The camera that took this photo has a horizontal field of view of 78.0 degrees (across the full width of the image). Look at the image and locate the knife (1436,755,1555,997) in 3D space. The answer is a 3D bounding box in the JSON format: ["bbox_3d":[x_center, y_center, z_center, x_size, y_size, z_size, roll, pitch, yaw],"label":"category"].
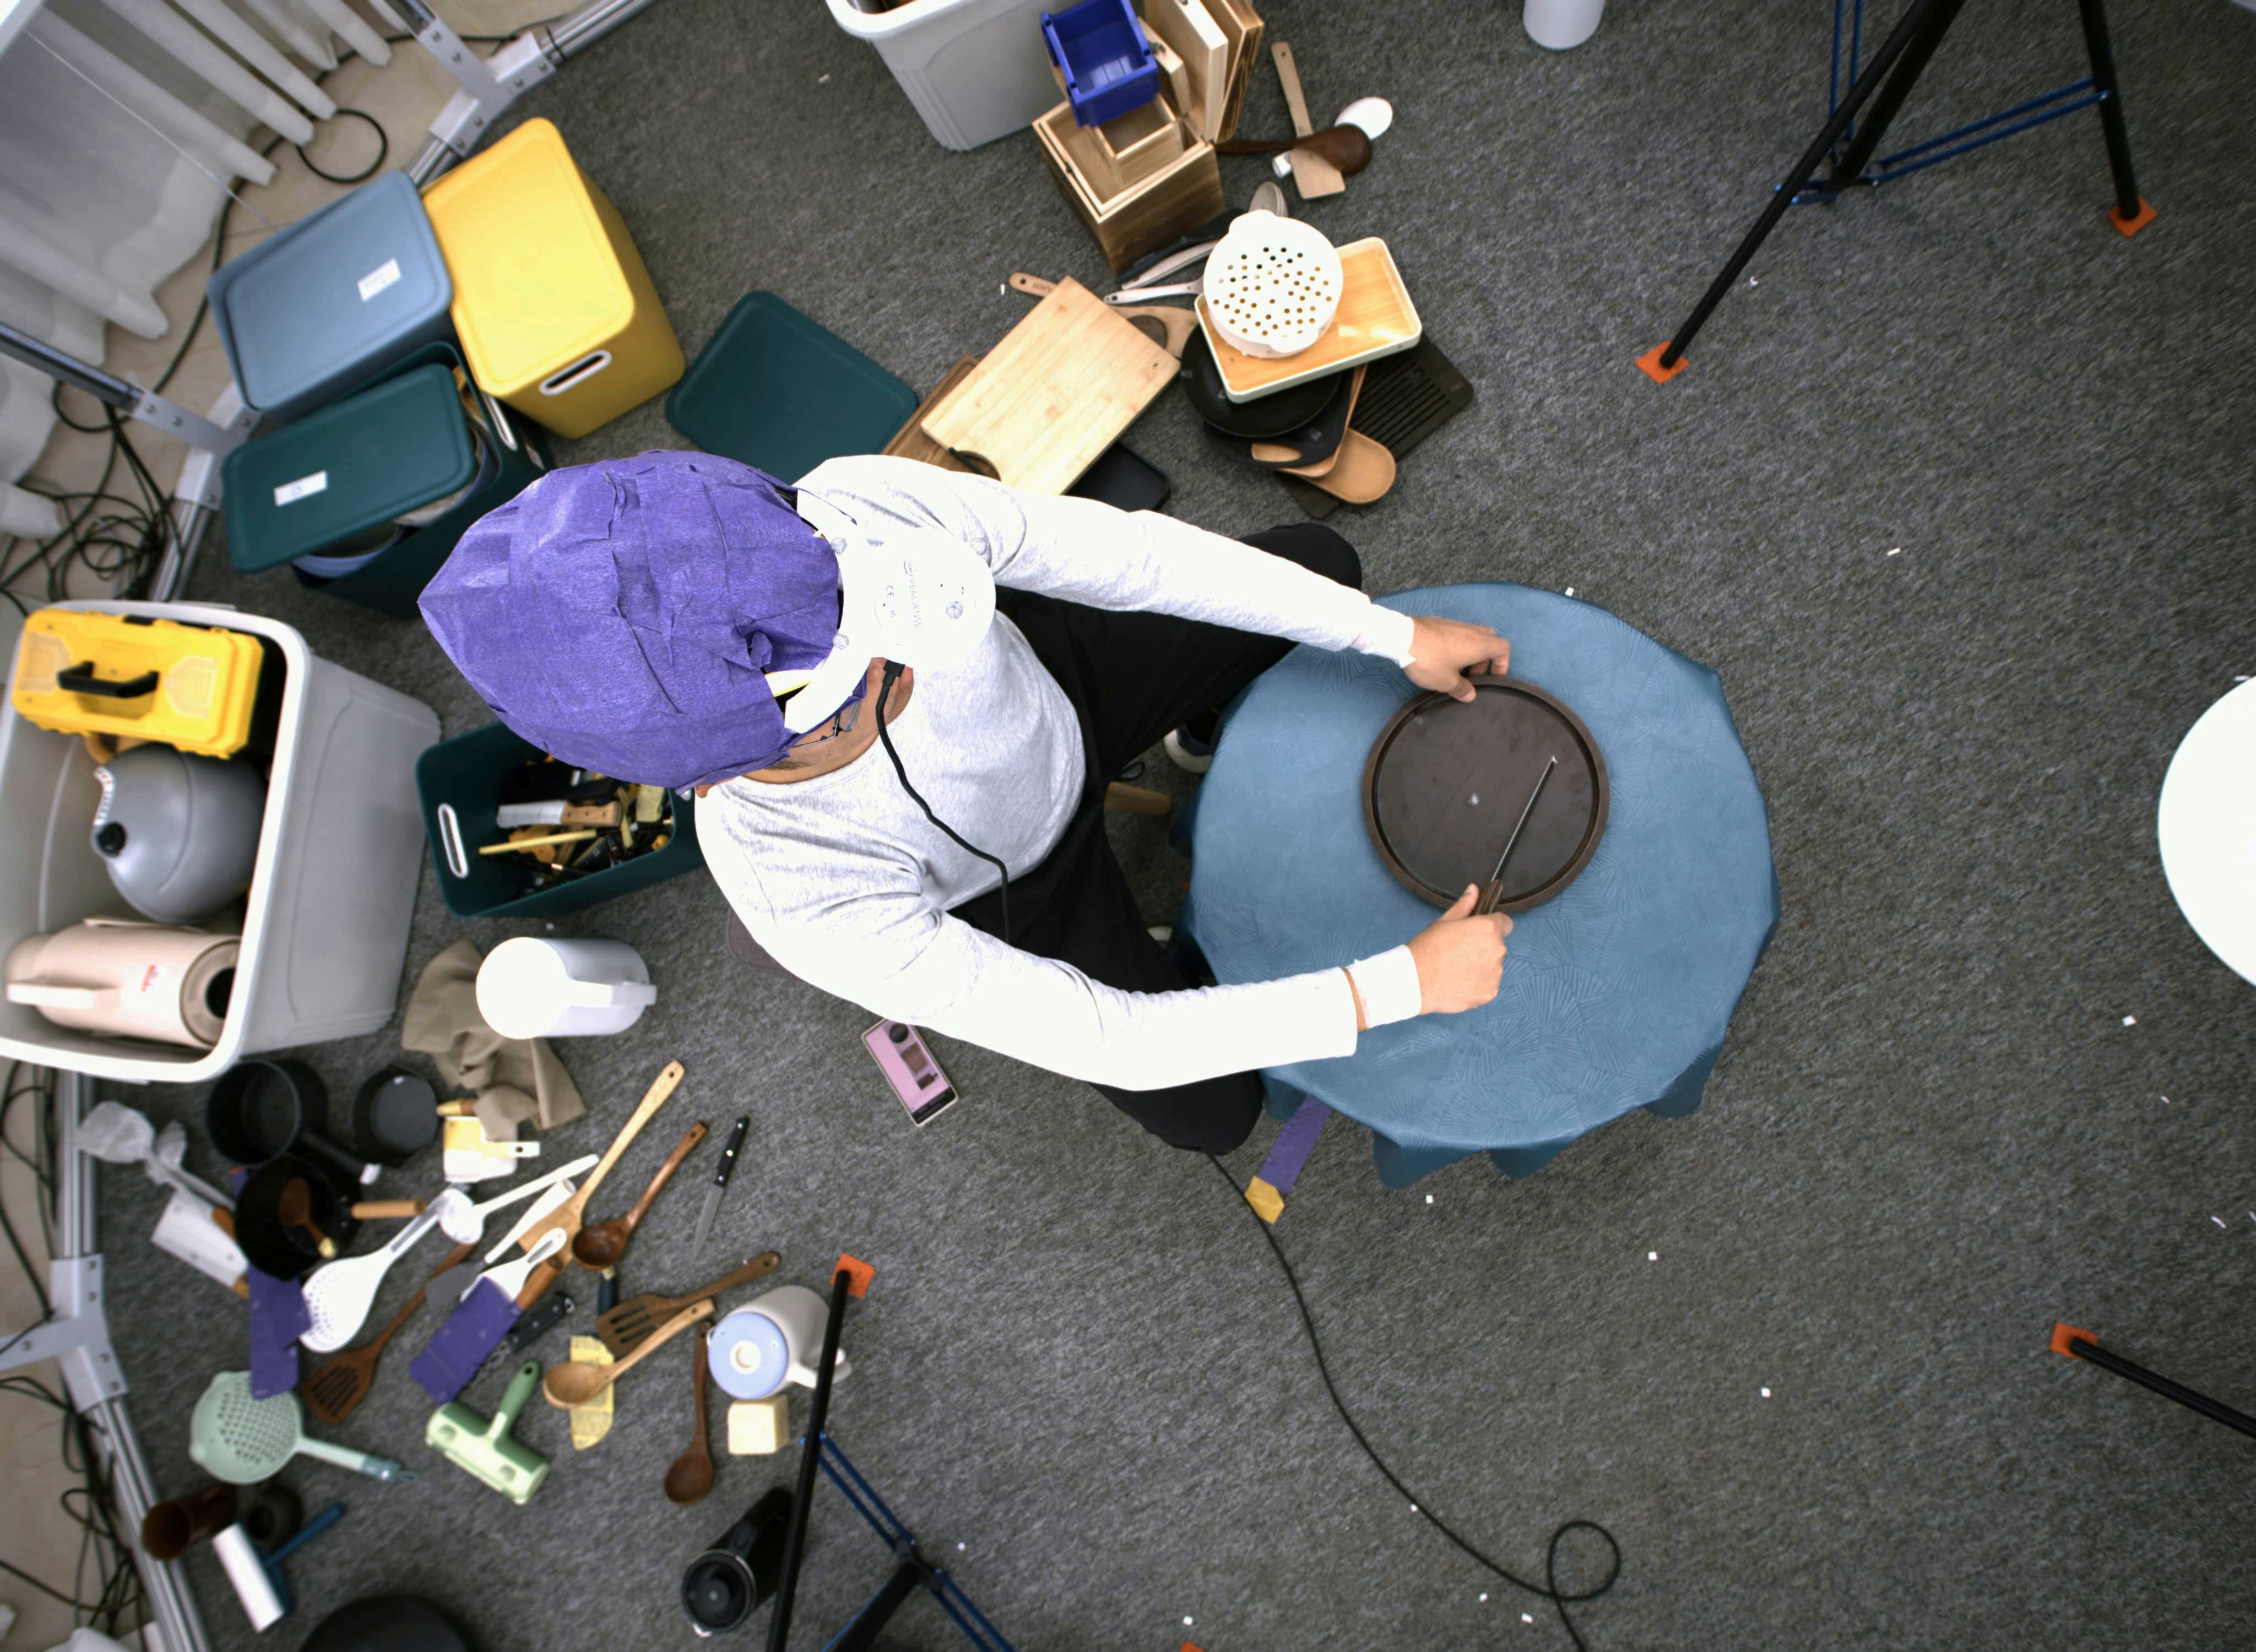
[{"bbox_3d":[0.359,0.040,1.320,0.020,0.051,0.284,29,69,5],"label":"knife"}]

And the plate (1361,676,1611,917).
[{"bbox_3d":[0.372,-0.033,1.434,0.256,0.029,0.254,-1,88,12],"label":"plate"}]
